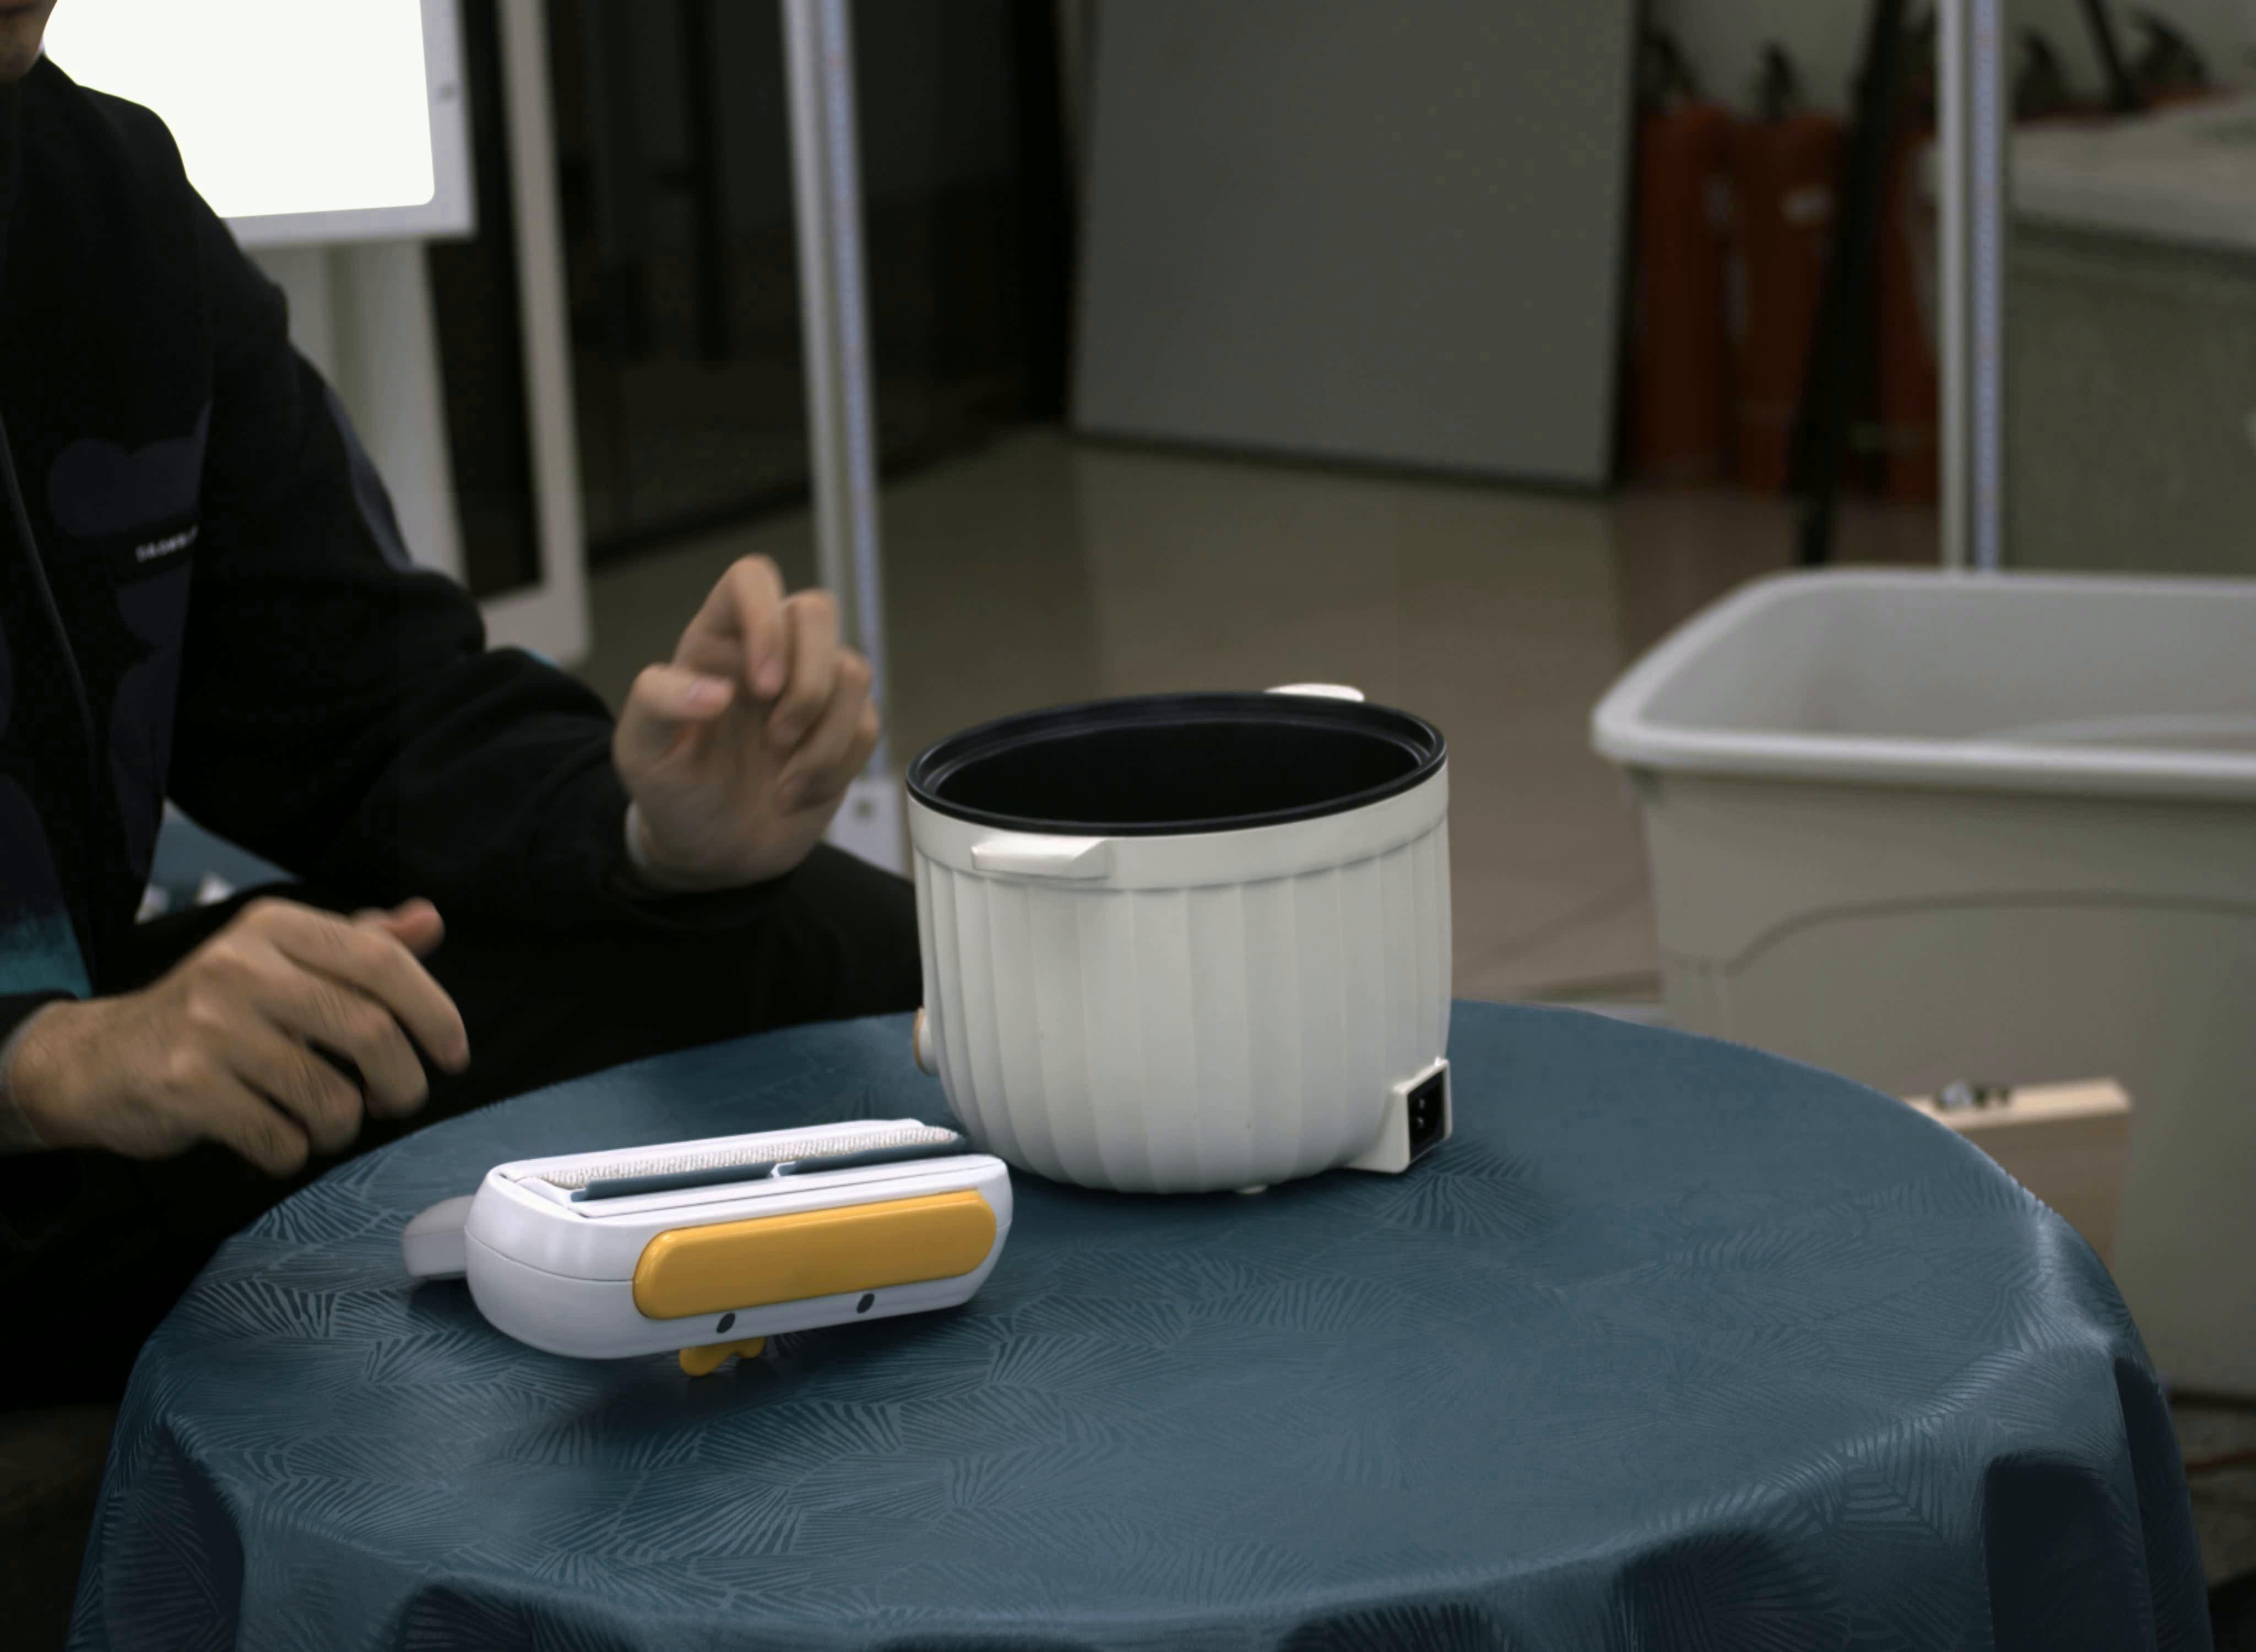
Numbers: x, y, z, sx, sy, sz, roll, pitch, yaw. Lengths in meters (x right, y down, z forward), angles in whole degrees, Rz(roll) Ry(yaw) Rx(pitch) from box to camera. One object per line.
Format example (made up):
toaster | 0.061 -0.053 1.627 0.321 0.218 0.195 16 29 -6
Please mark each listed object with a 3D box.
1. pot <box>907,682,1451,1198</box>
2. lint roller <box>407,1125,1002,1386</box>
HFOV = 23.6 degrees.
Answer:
pot | 0.014 0.040 1.802 0.191 0.144 0.237 6 15 27
lint roller | -0.159 0.124 1.664 0.188 0.075 0.194 -9 12 -40
